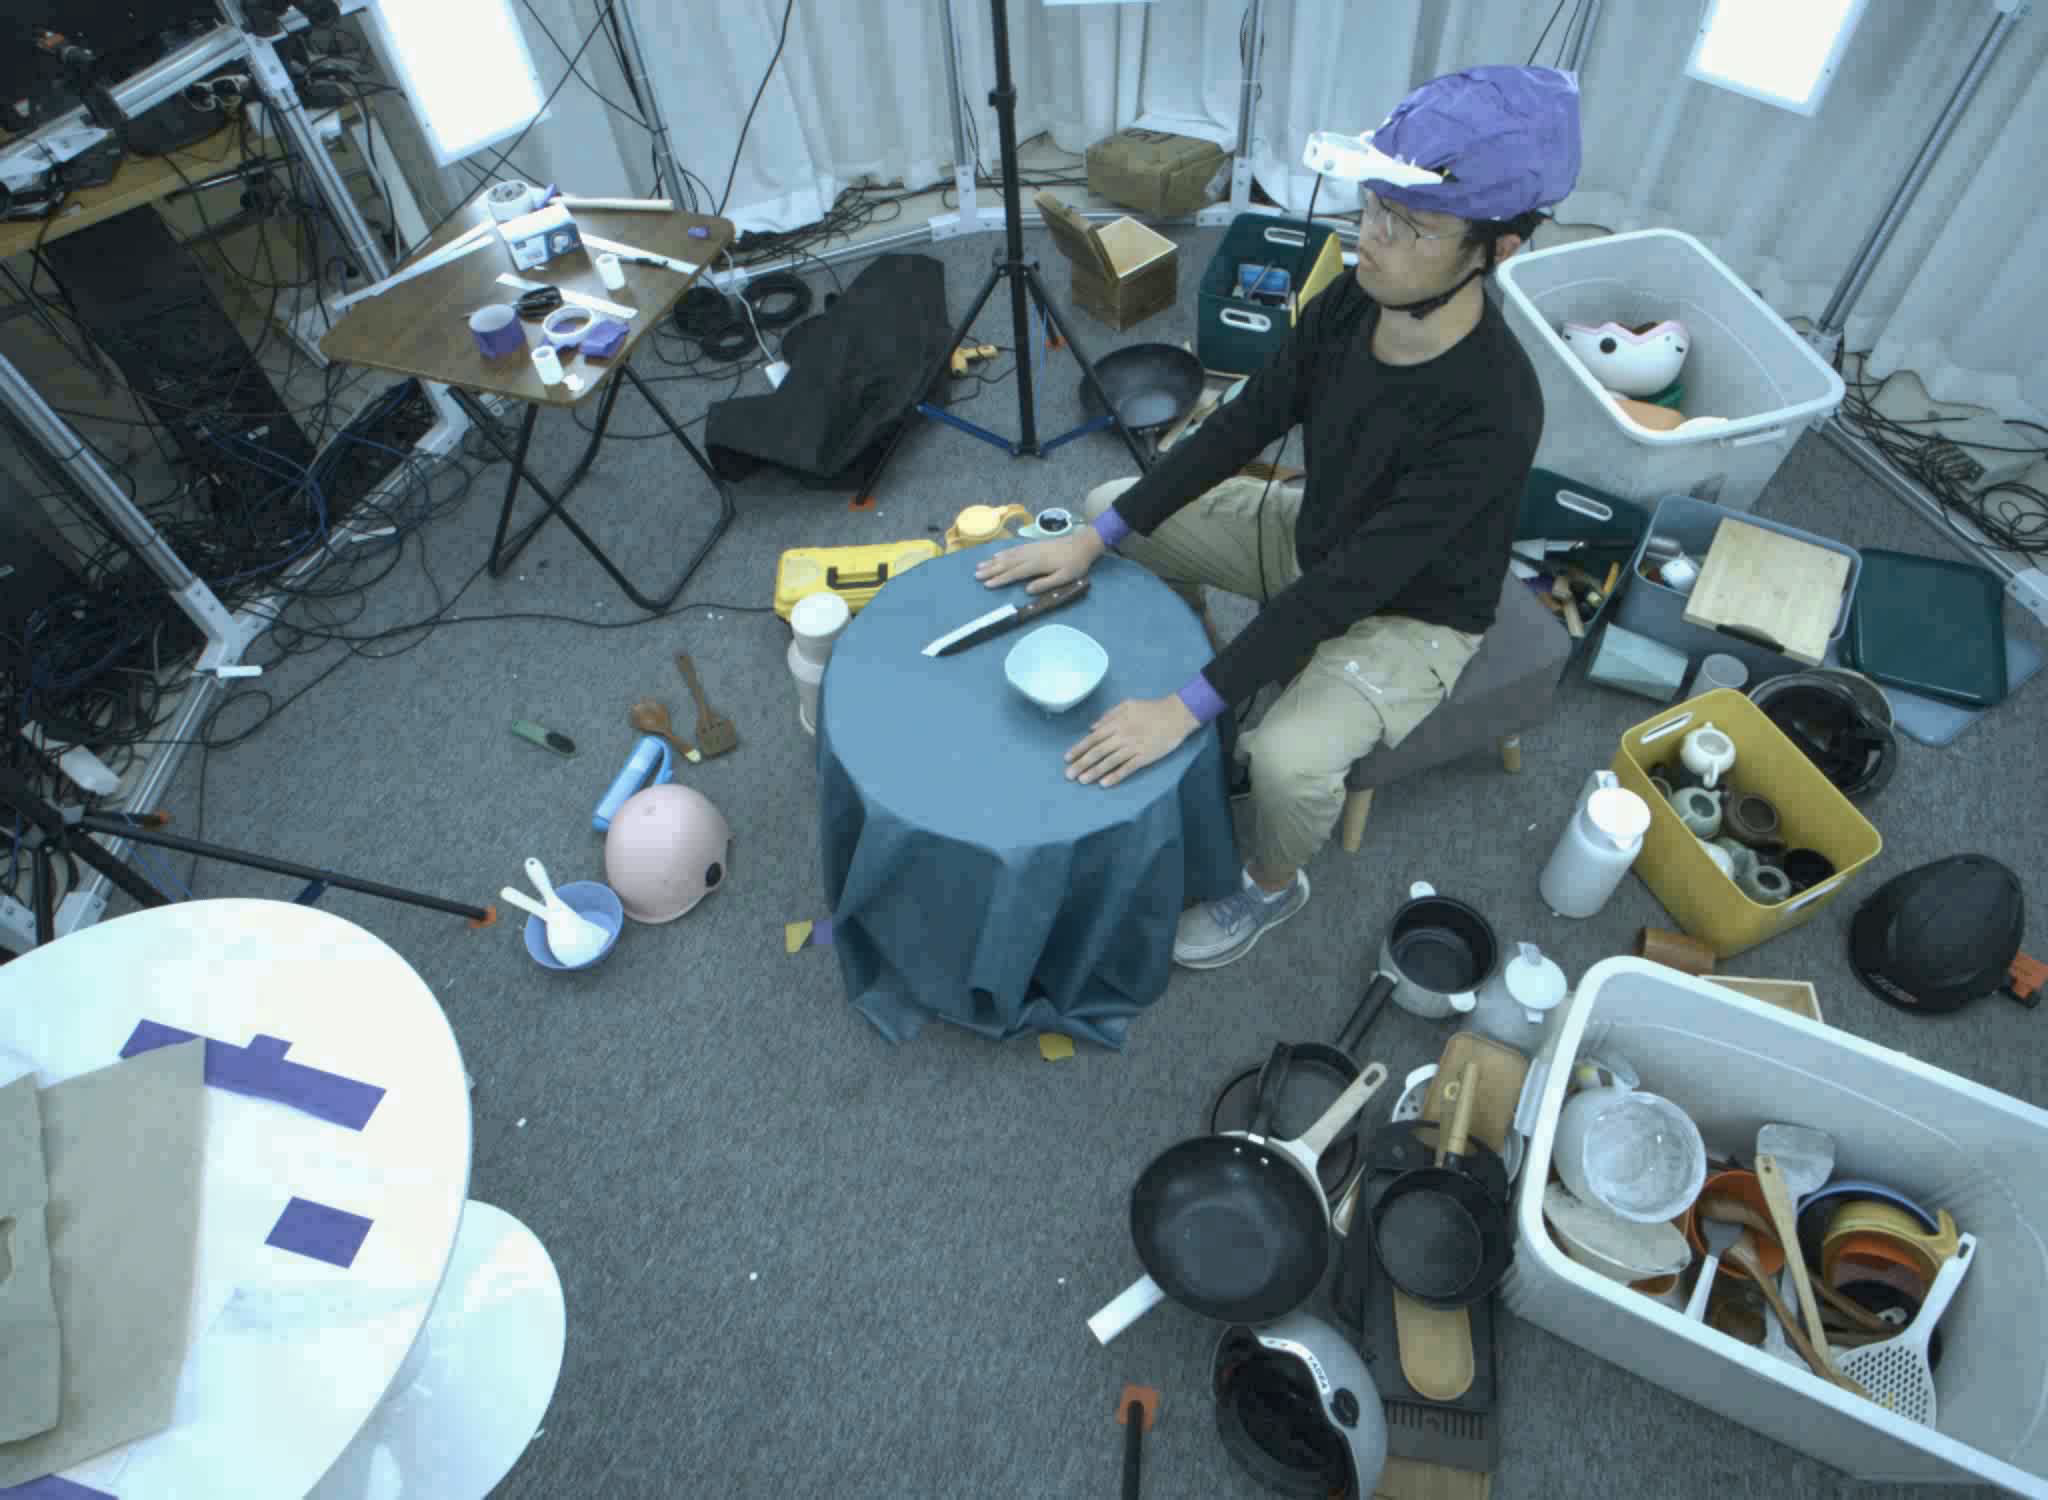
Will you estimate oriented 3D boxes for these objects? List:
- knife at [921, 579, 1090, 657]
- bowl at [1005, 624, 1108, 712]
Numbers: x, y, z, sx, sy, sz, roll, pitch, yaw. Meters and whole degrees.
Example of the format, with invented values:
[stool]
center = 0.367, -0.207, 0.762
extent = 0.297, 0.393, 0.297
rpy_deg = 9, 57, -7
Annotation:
[knife]
center = -0.029, -0.206, 1.922
extent = 0.291, 0.020, 0.049
rpy_deg = -24, 52, -12
[bowl]
center = 0.050, -0.112, 1.827
extent = 0.151, 0.059, 0.150
rpy_deg = -1, 56, 3
